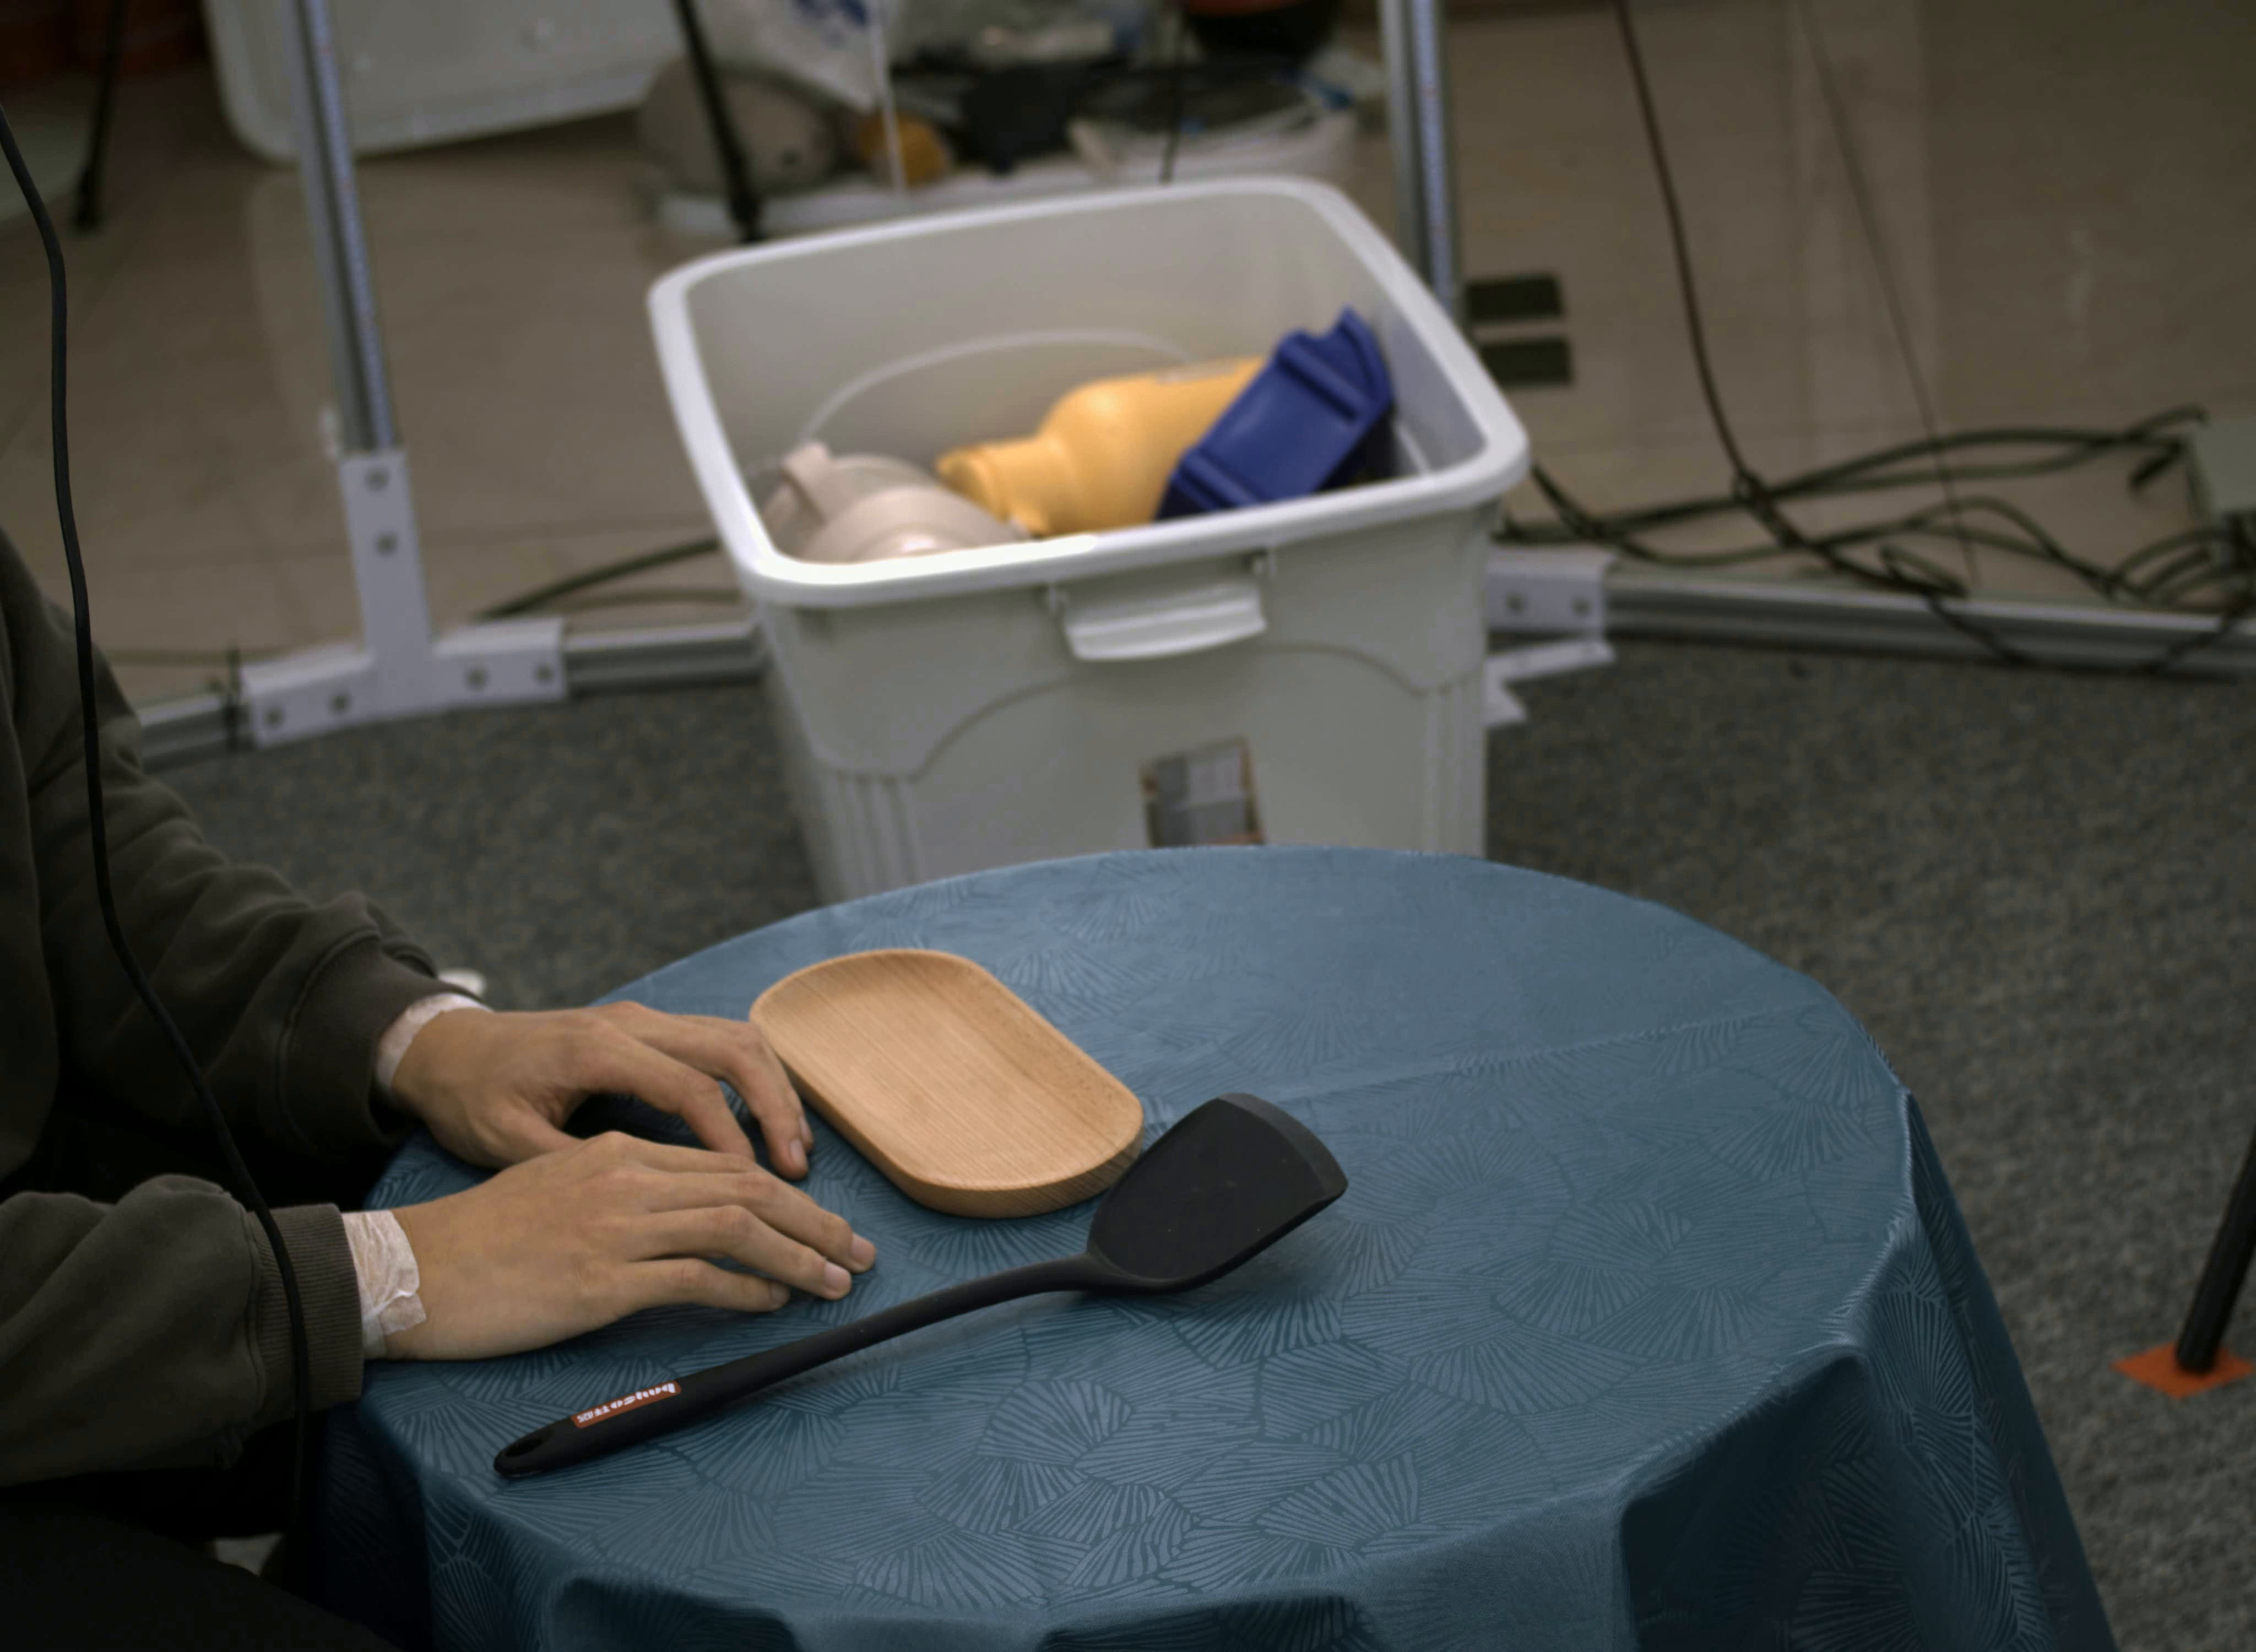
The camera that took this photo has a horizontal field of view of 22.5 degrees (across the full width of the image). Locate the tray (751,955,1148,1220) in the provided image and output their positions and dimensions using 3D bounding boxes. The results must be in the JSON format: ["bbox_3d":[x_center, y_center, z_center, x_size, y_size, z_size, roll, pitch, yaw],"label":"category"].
[{"bbox_3d":[-0.072,0.101,2.227,0.101,0.020,0.228,-18,28,-21],"label":"tray"}]

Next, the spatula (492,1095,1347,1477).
[{"bbox_3d":[-0.079,0.172,2.052,0.325,0.041,0.098,-16,25,-19],"label":"spatula"}]
